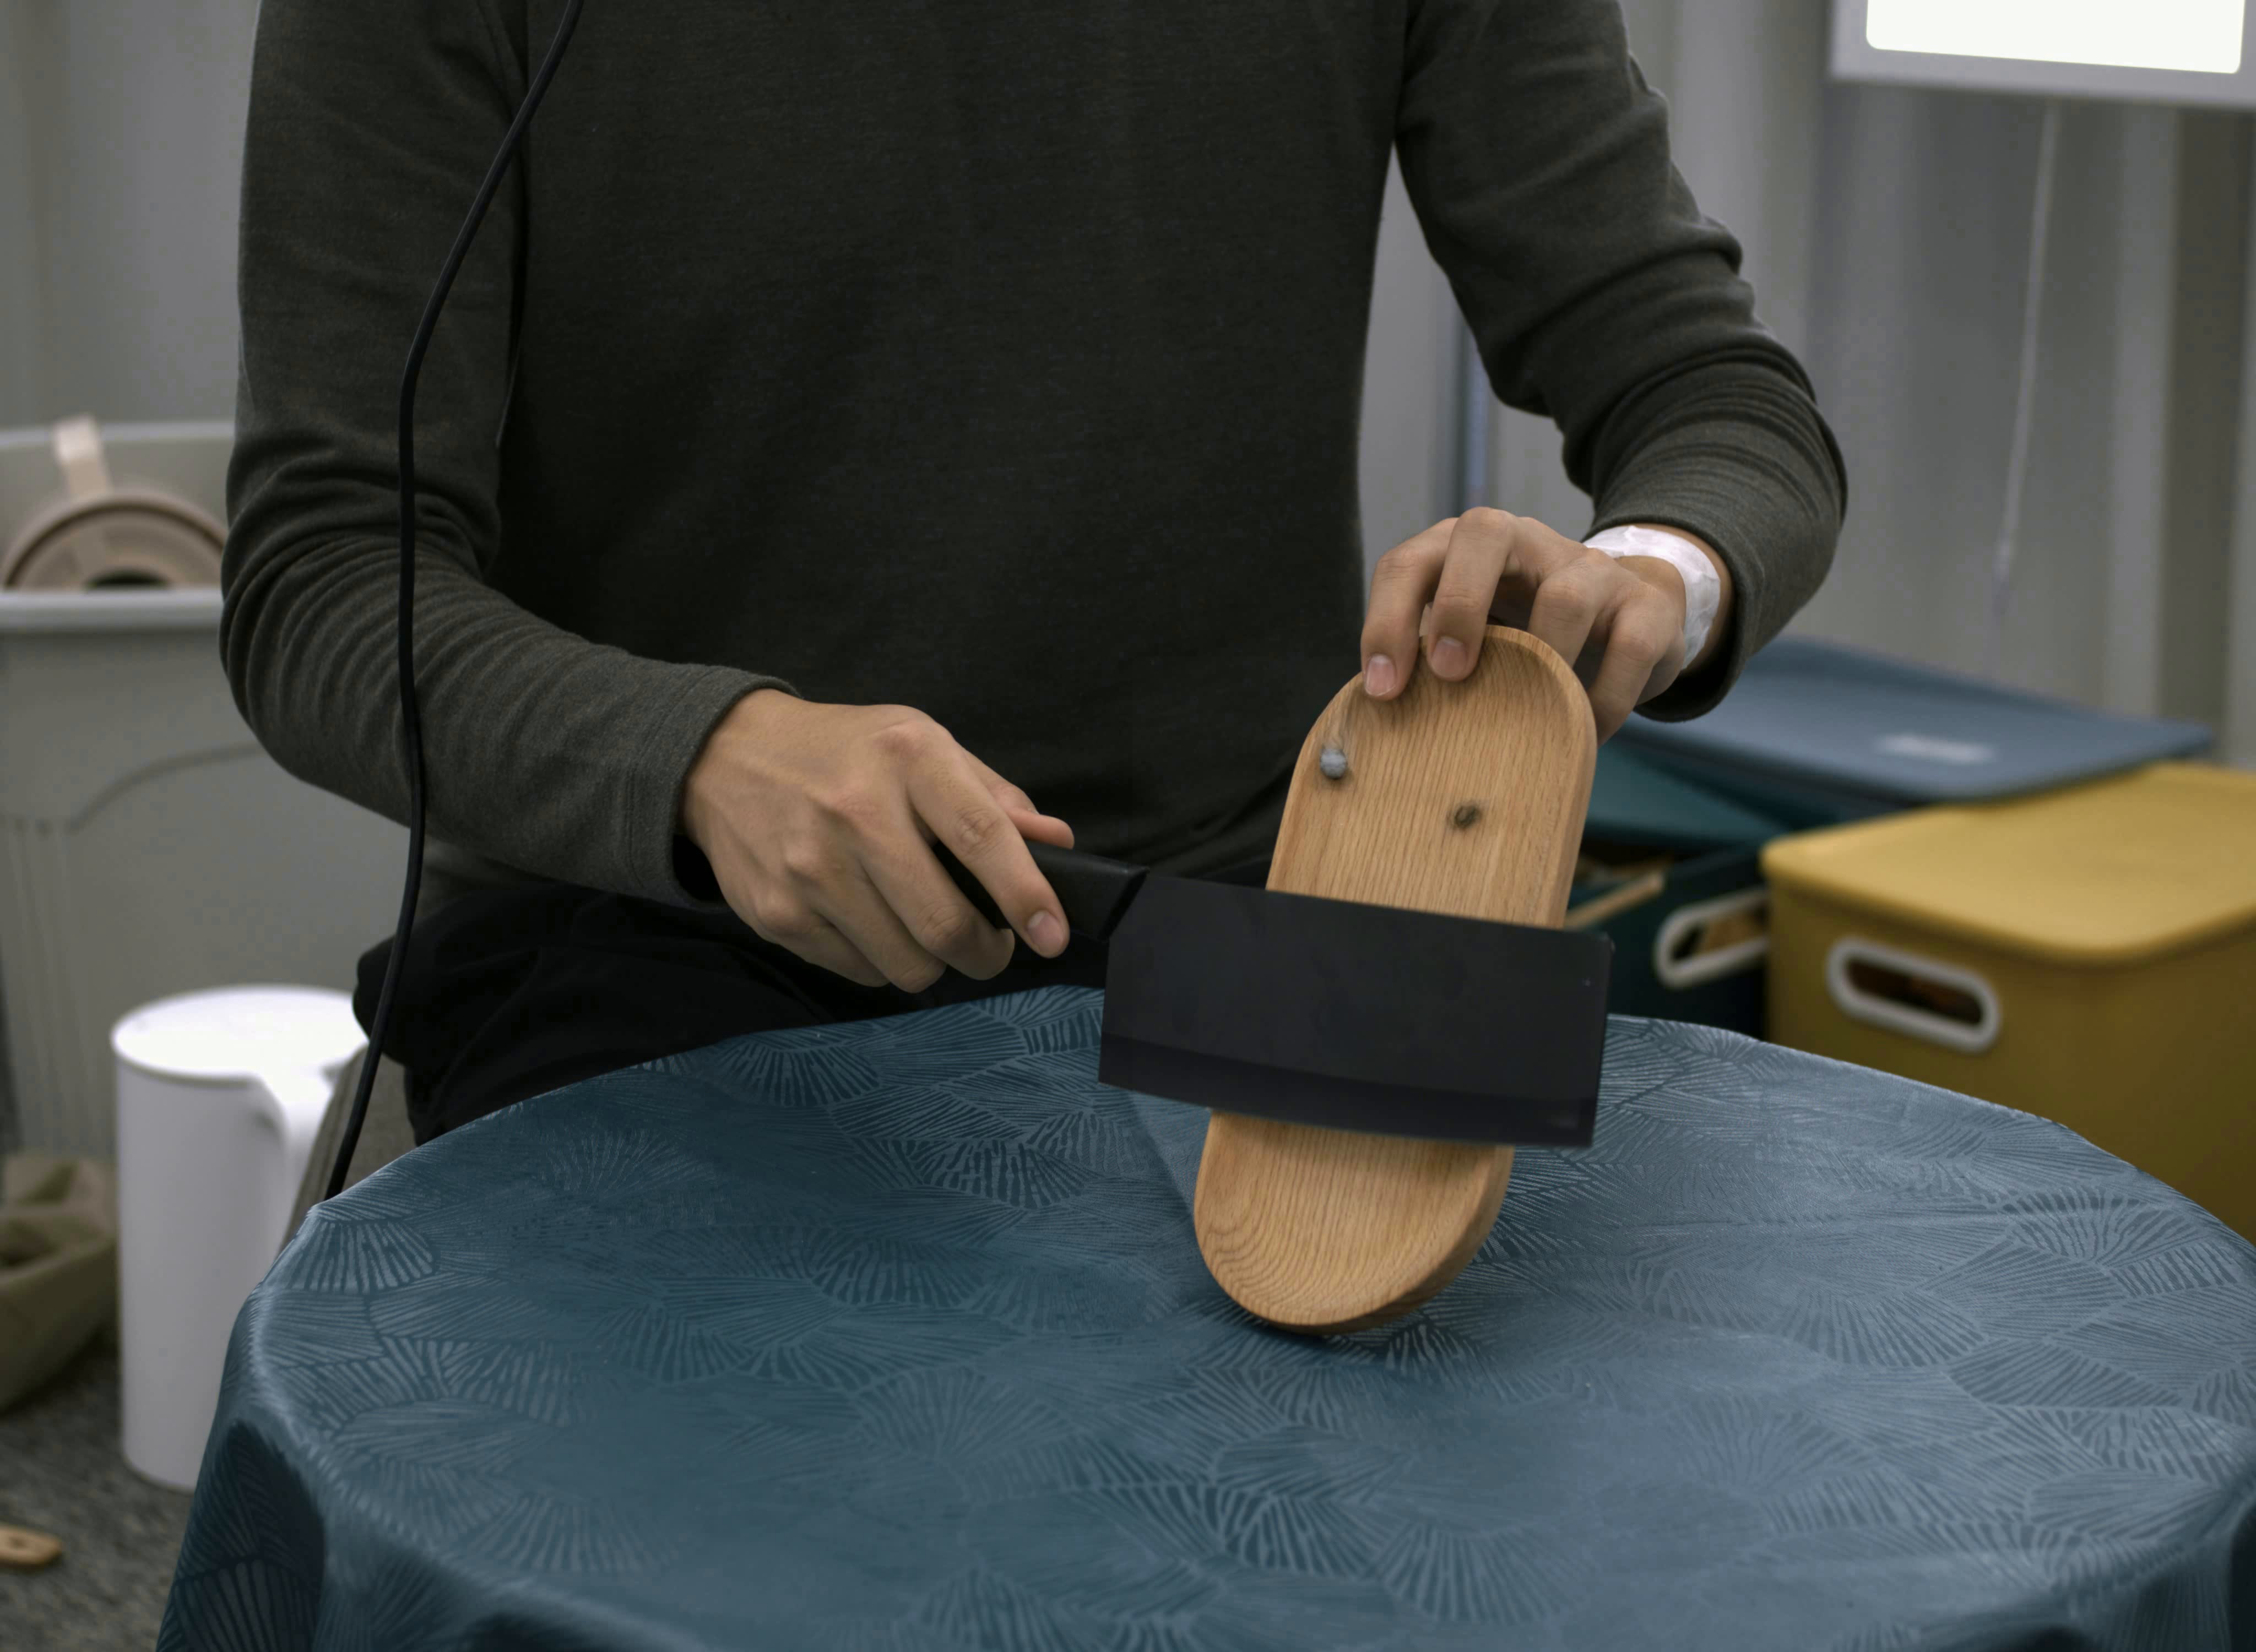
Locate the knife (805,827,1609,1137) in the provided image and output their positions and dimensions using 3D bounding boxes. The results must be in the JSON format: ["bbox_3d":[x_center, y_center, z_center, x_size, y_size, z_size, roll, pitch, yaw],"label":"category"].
[{"bbox_3d":[0.018,0.042,1.551,0.298,0.081,0.021,12,7,39],"label":"knife"}]

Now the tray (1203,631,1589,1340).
[{"bbox_3d":[0.080,0.045,1.541,0.101,0.230,0.020,-8,-32,33],"label":"tray"}]
